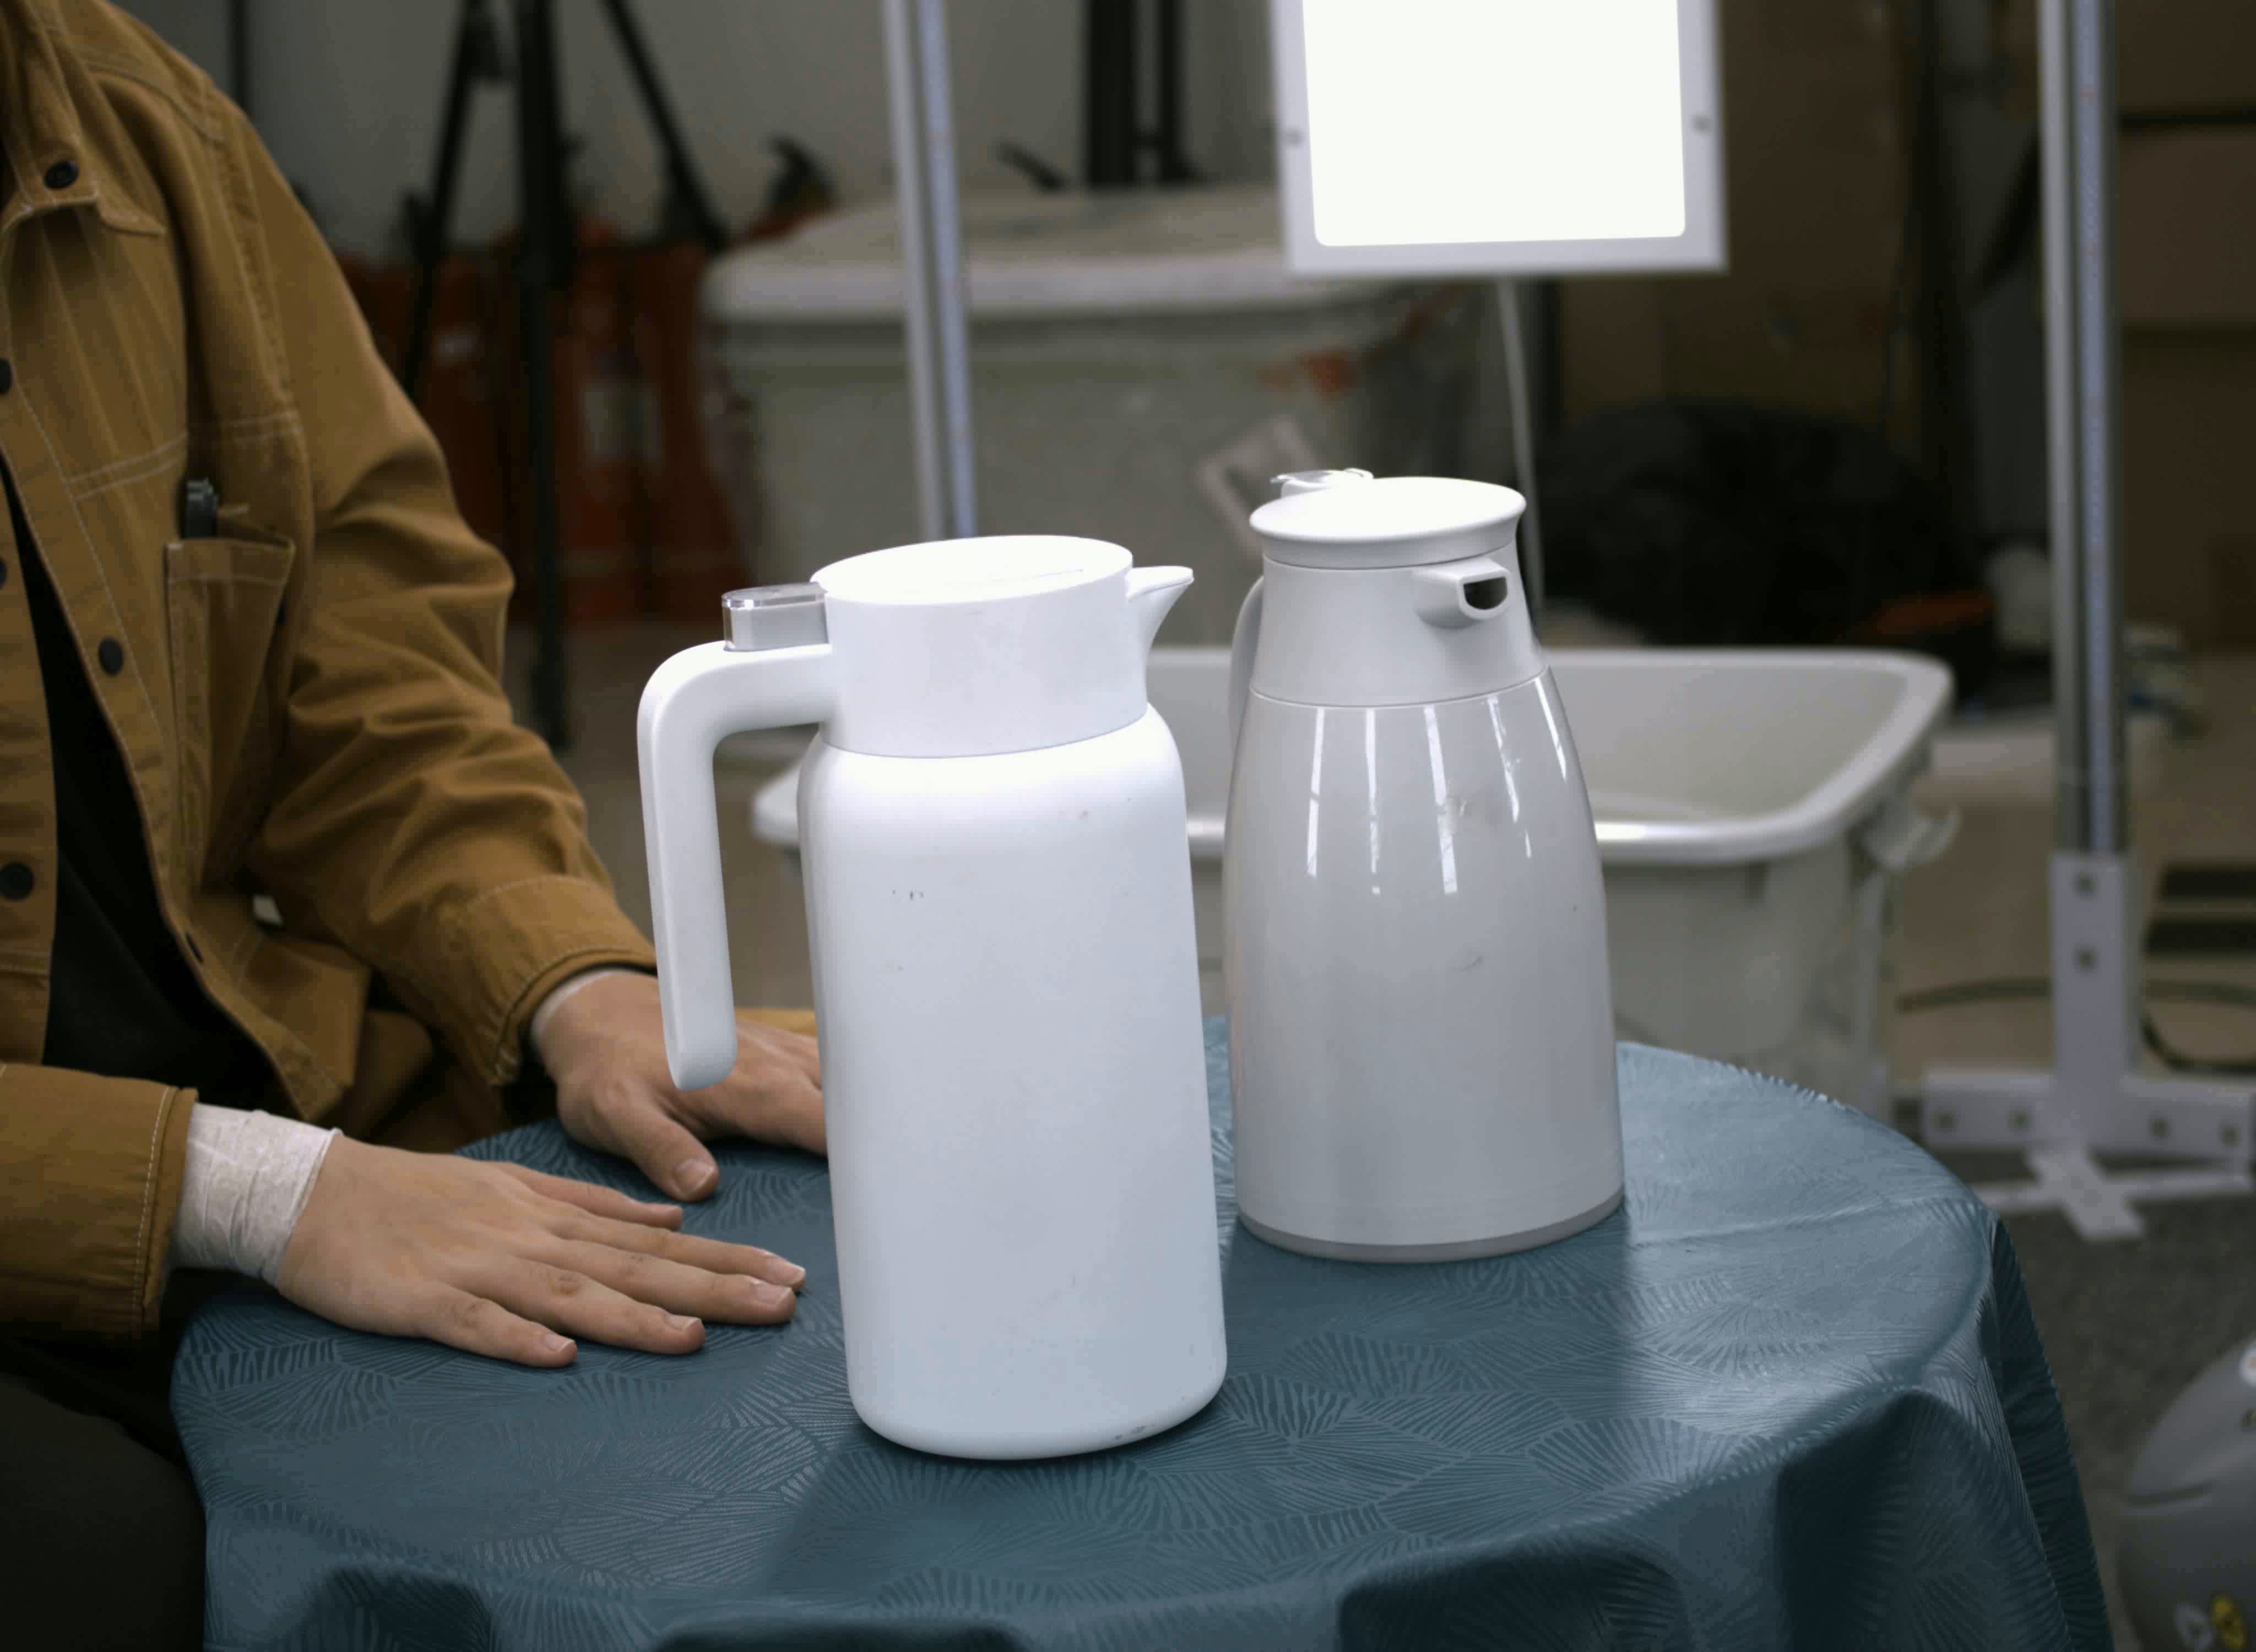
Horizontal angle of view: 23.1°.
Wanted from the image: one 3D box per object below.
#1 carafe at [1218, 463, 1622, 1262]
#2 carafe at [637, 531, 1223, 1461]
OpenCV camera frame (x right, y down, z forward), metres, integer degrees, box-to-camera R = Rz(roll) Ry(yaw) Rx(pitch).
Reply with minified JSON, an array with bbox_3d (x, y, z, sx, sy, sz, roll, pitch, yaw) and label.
[{"bbox_3d":[0.083,0.004,1.845,0.130,0.249,0.170,-11,14,-25],"label":"carafe"},{"bbox_3d":[-0.054,0.052,1.660,0.170,0.270,0.125,-8,16,-12],"label":"carafe"}]
